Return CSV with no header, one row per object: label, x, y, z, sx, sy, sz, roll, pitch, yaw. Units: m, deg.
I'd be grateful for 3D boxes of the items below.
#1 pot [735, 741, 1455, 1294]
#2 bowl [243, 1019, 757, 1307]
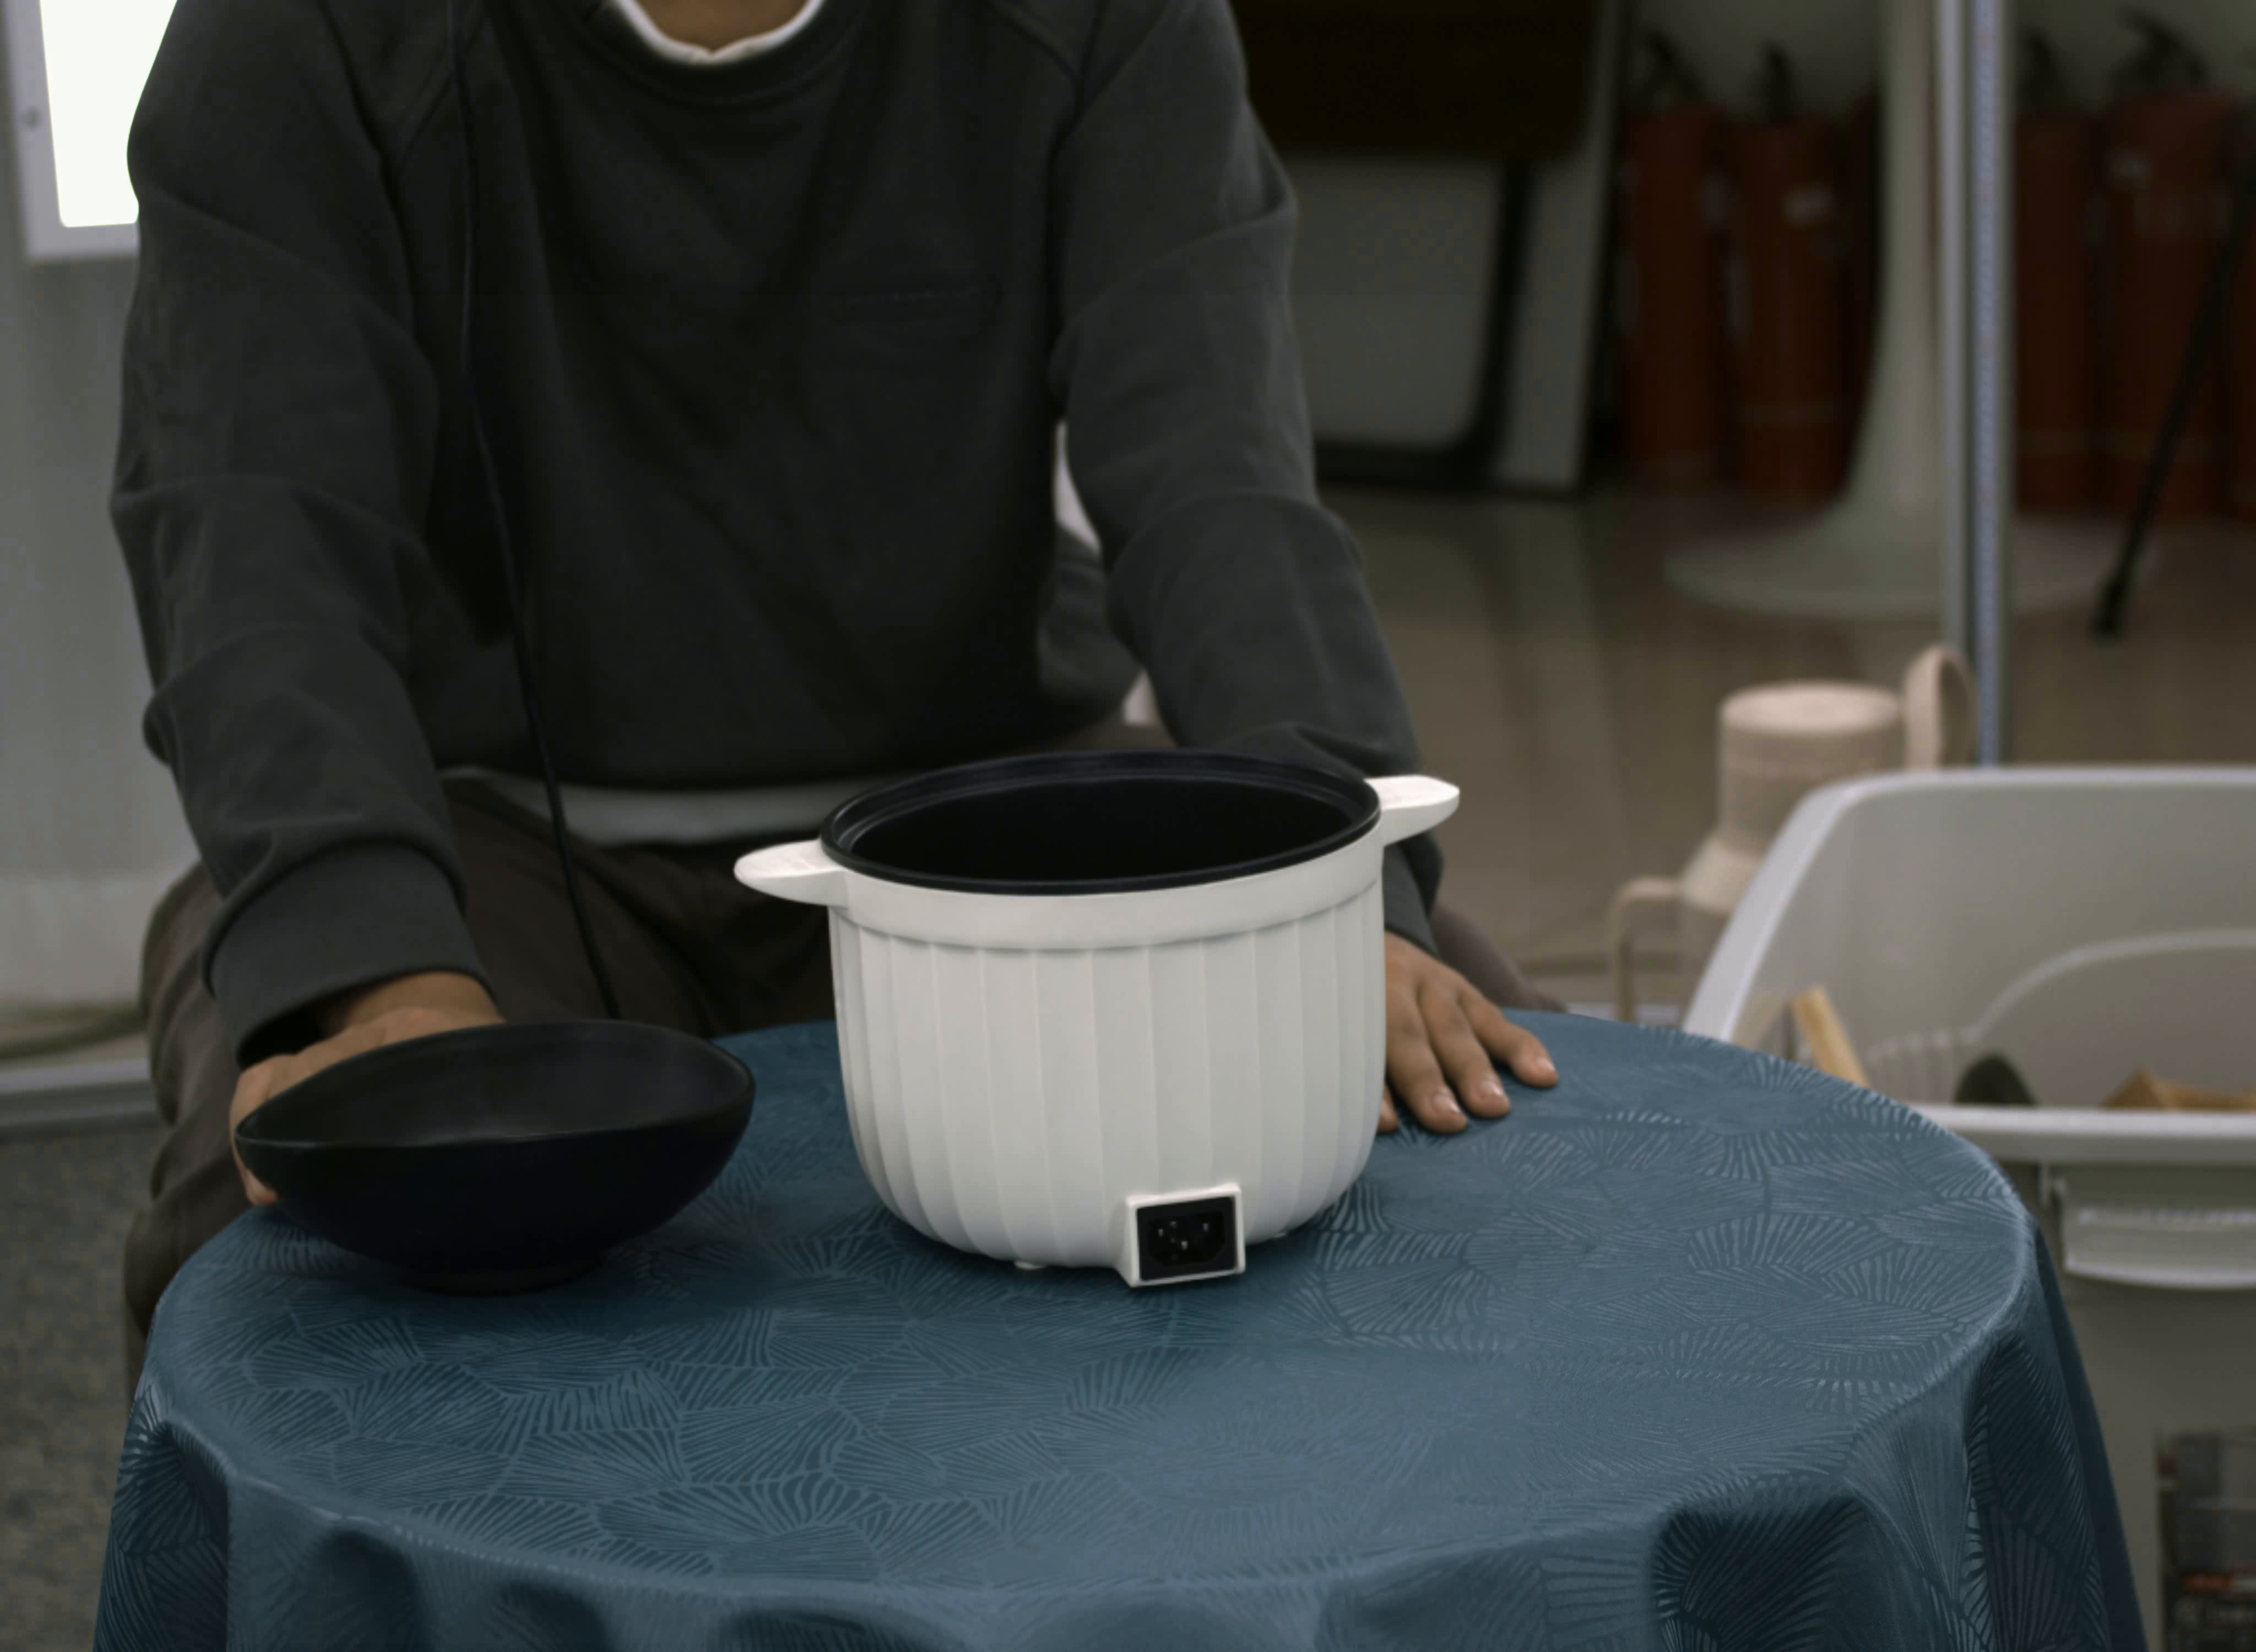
pot,-0.008,0.059,1.740,0.236,0.144,0.192,-6,16,-13
bowl,-0.199,0.113,1.731,0.169,0.067,0.137,-4,13,7
